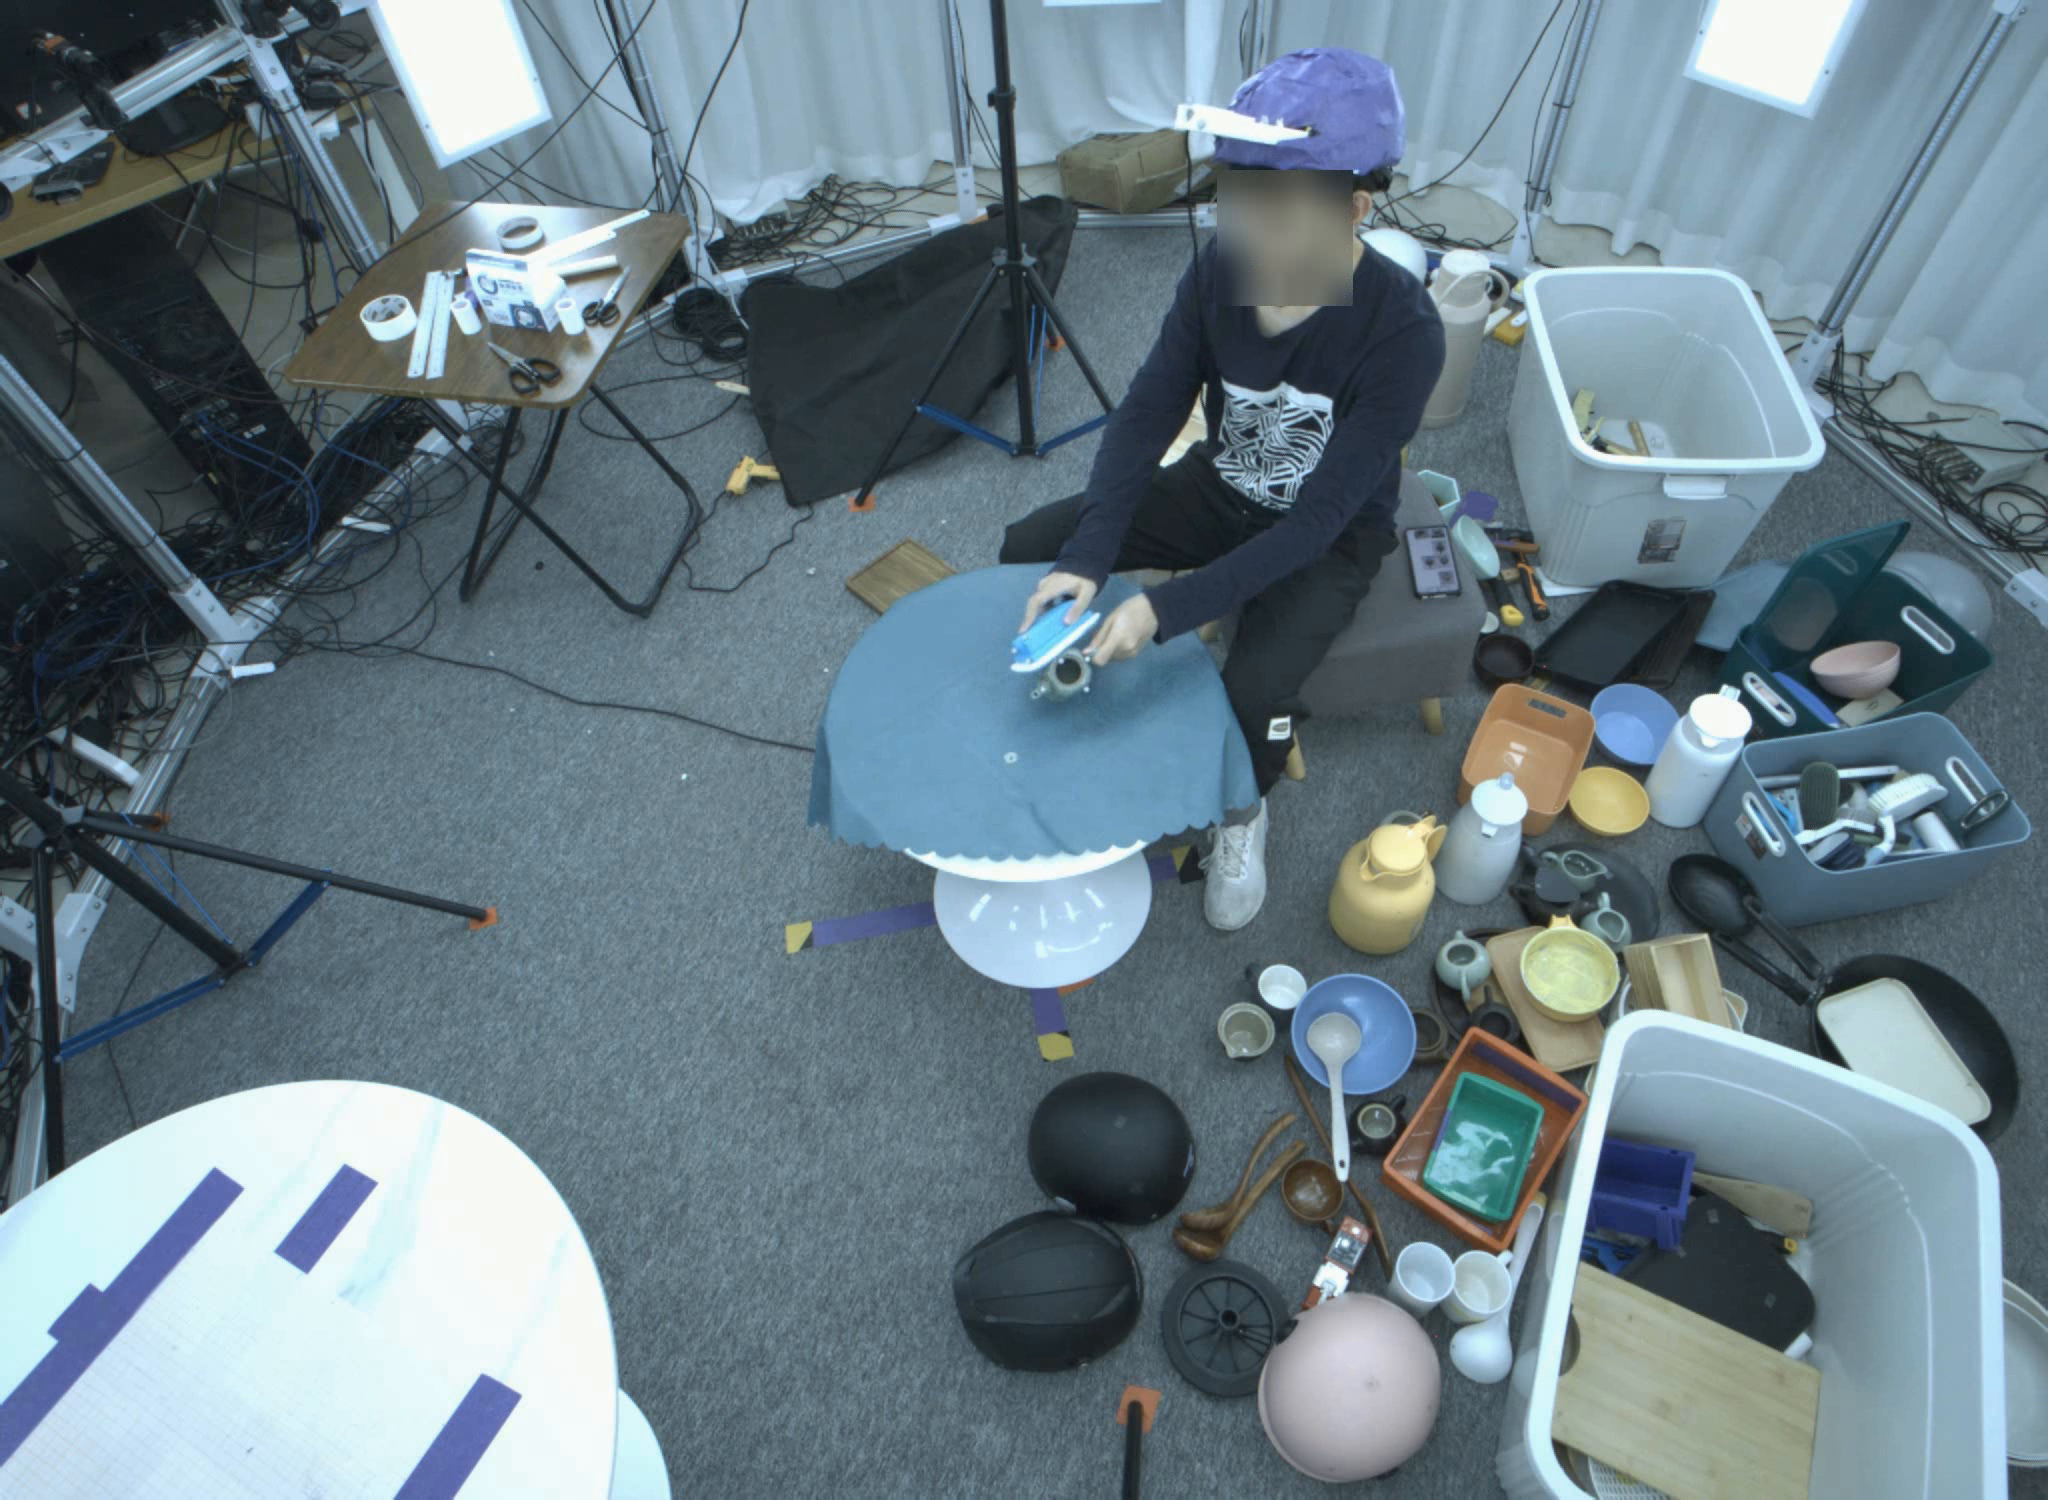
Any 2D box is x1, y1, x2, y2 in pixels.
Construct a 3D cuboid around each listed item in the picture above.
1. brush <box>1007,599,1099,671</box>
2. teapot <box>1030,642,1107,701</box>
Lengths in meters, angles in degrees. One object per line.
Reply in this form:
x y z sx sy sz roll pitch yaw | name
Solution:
0.036 -0.171 1.767 0.145 0.056 0.082 -40 20 -18 | brush
0.059 -0.114 1.777 0.133 0.074 0.080 -34 99 -6 | teapot
